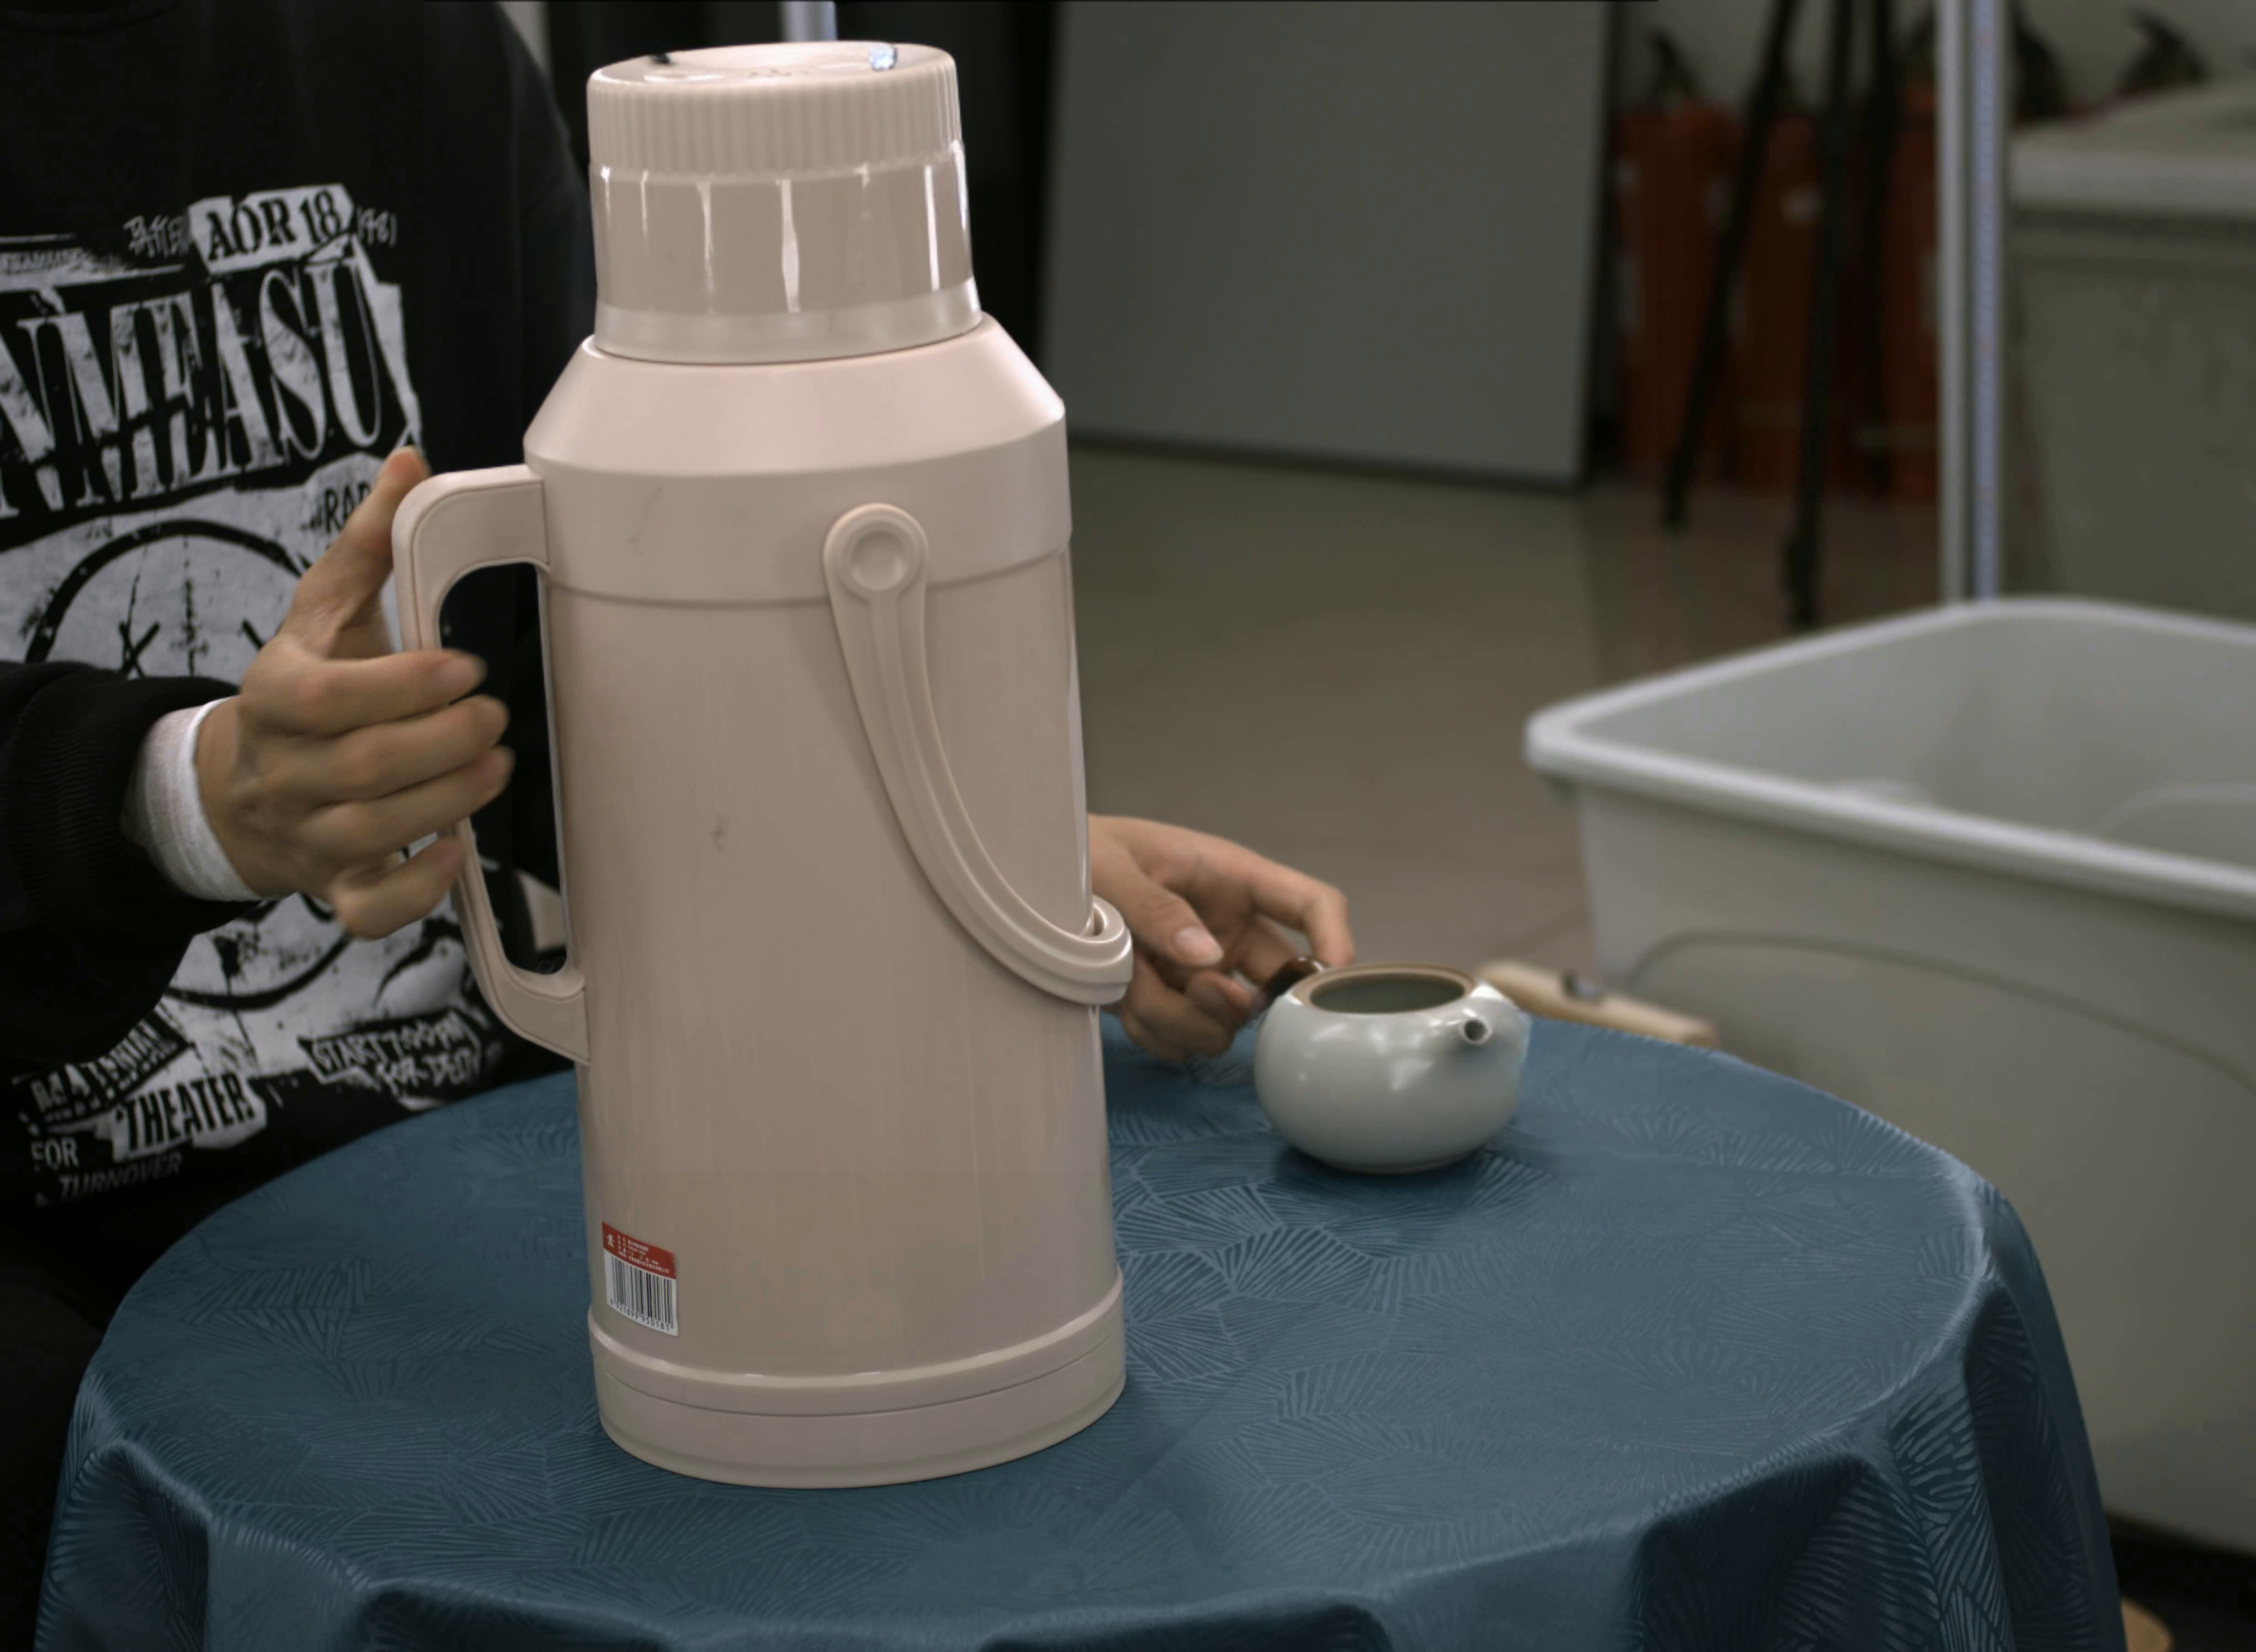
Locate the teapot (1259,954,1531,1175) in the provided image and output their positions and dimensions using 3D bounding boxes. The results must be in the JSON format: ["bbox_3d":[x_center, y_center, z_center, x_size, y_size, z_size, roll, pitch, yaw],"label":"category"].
[{"bbox_3d":[0.084,0.078,1.799,0.090,0.060,0.129,-16,18,-29],"label":"teapot"}]

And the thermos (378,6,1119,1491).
[{"bbox_3d":[-0.107,-0.023,1.556,0.203,0.411,0.177,-7,15,-17],"label":"thermos"}]
